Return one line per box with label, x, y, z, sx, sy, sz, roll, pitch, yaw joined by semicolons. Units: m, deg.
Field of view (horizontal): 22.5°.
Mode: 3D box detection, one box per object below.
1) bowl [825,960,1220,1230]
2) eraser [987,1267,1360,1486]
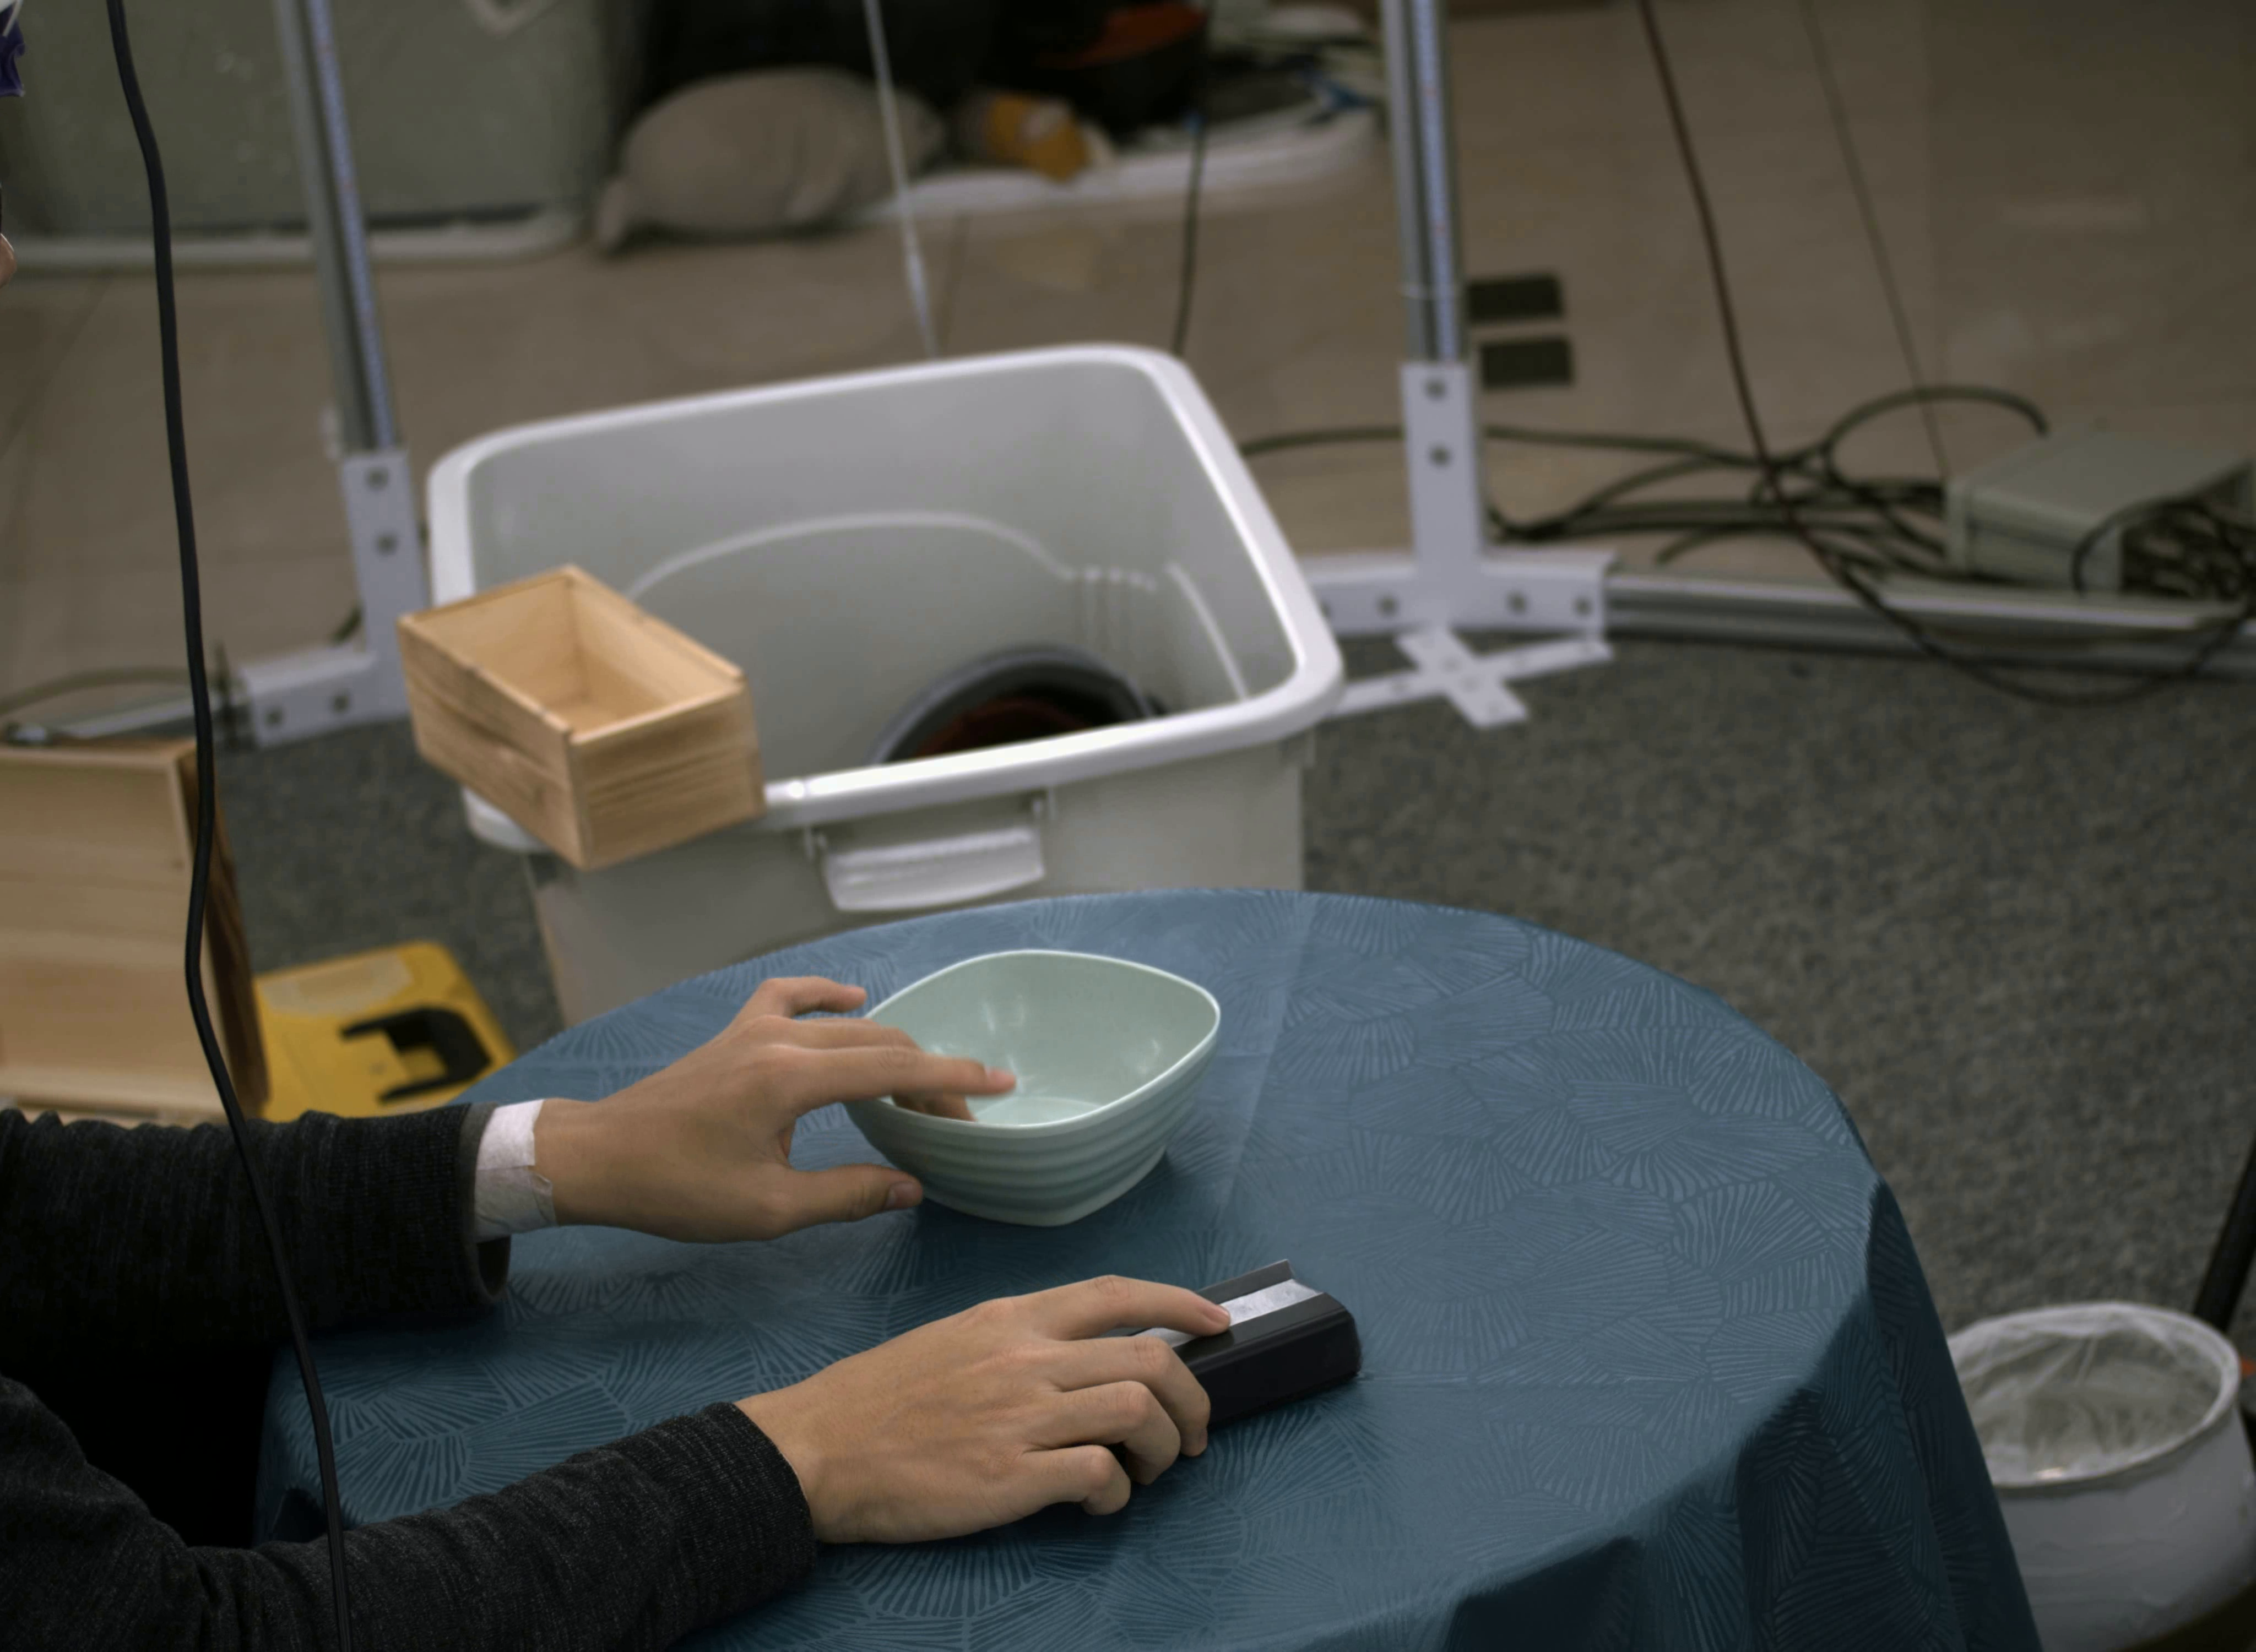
bowl;-0.038;0.107;2.160;0.151;0.059;0.149;-4;24;2
eraser;0.017;0.192;1.996;0.125;0.031;0.053;-18;25;-23
